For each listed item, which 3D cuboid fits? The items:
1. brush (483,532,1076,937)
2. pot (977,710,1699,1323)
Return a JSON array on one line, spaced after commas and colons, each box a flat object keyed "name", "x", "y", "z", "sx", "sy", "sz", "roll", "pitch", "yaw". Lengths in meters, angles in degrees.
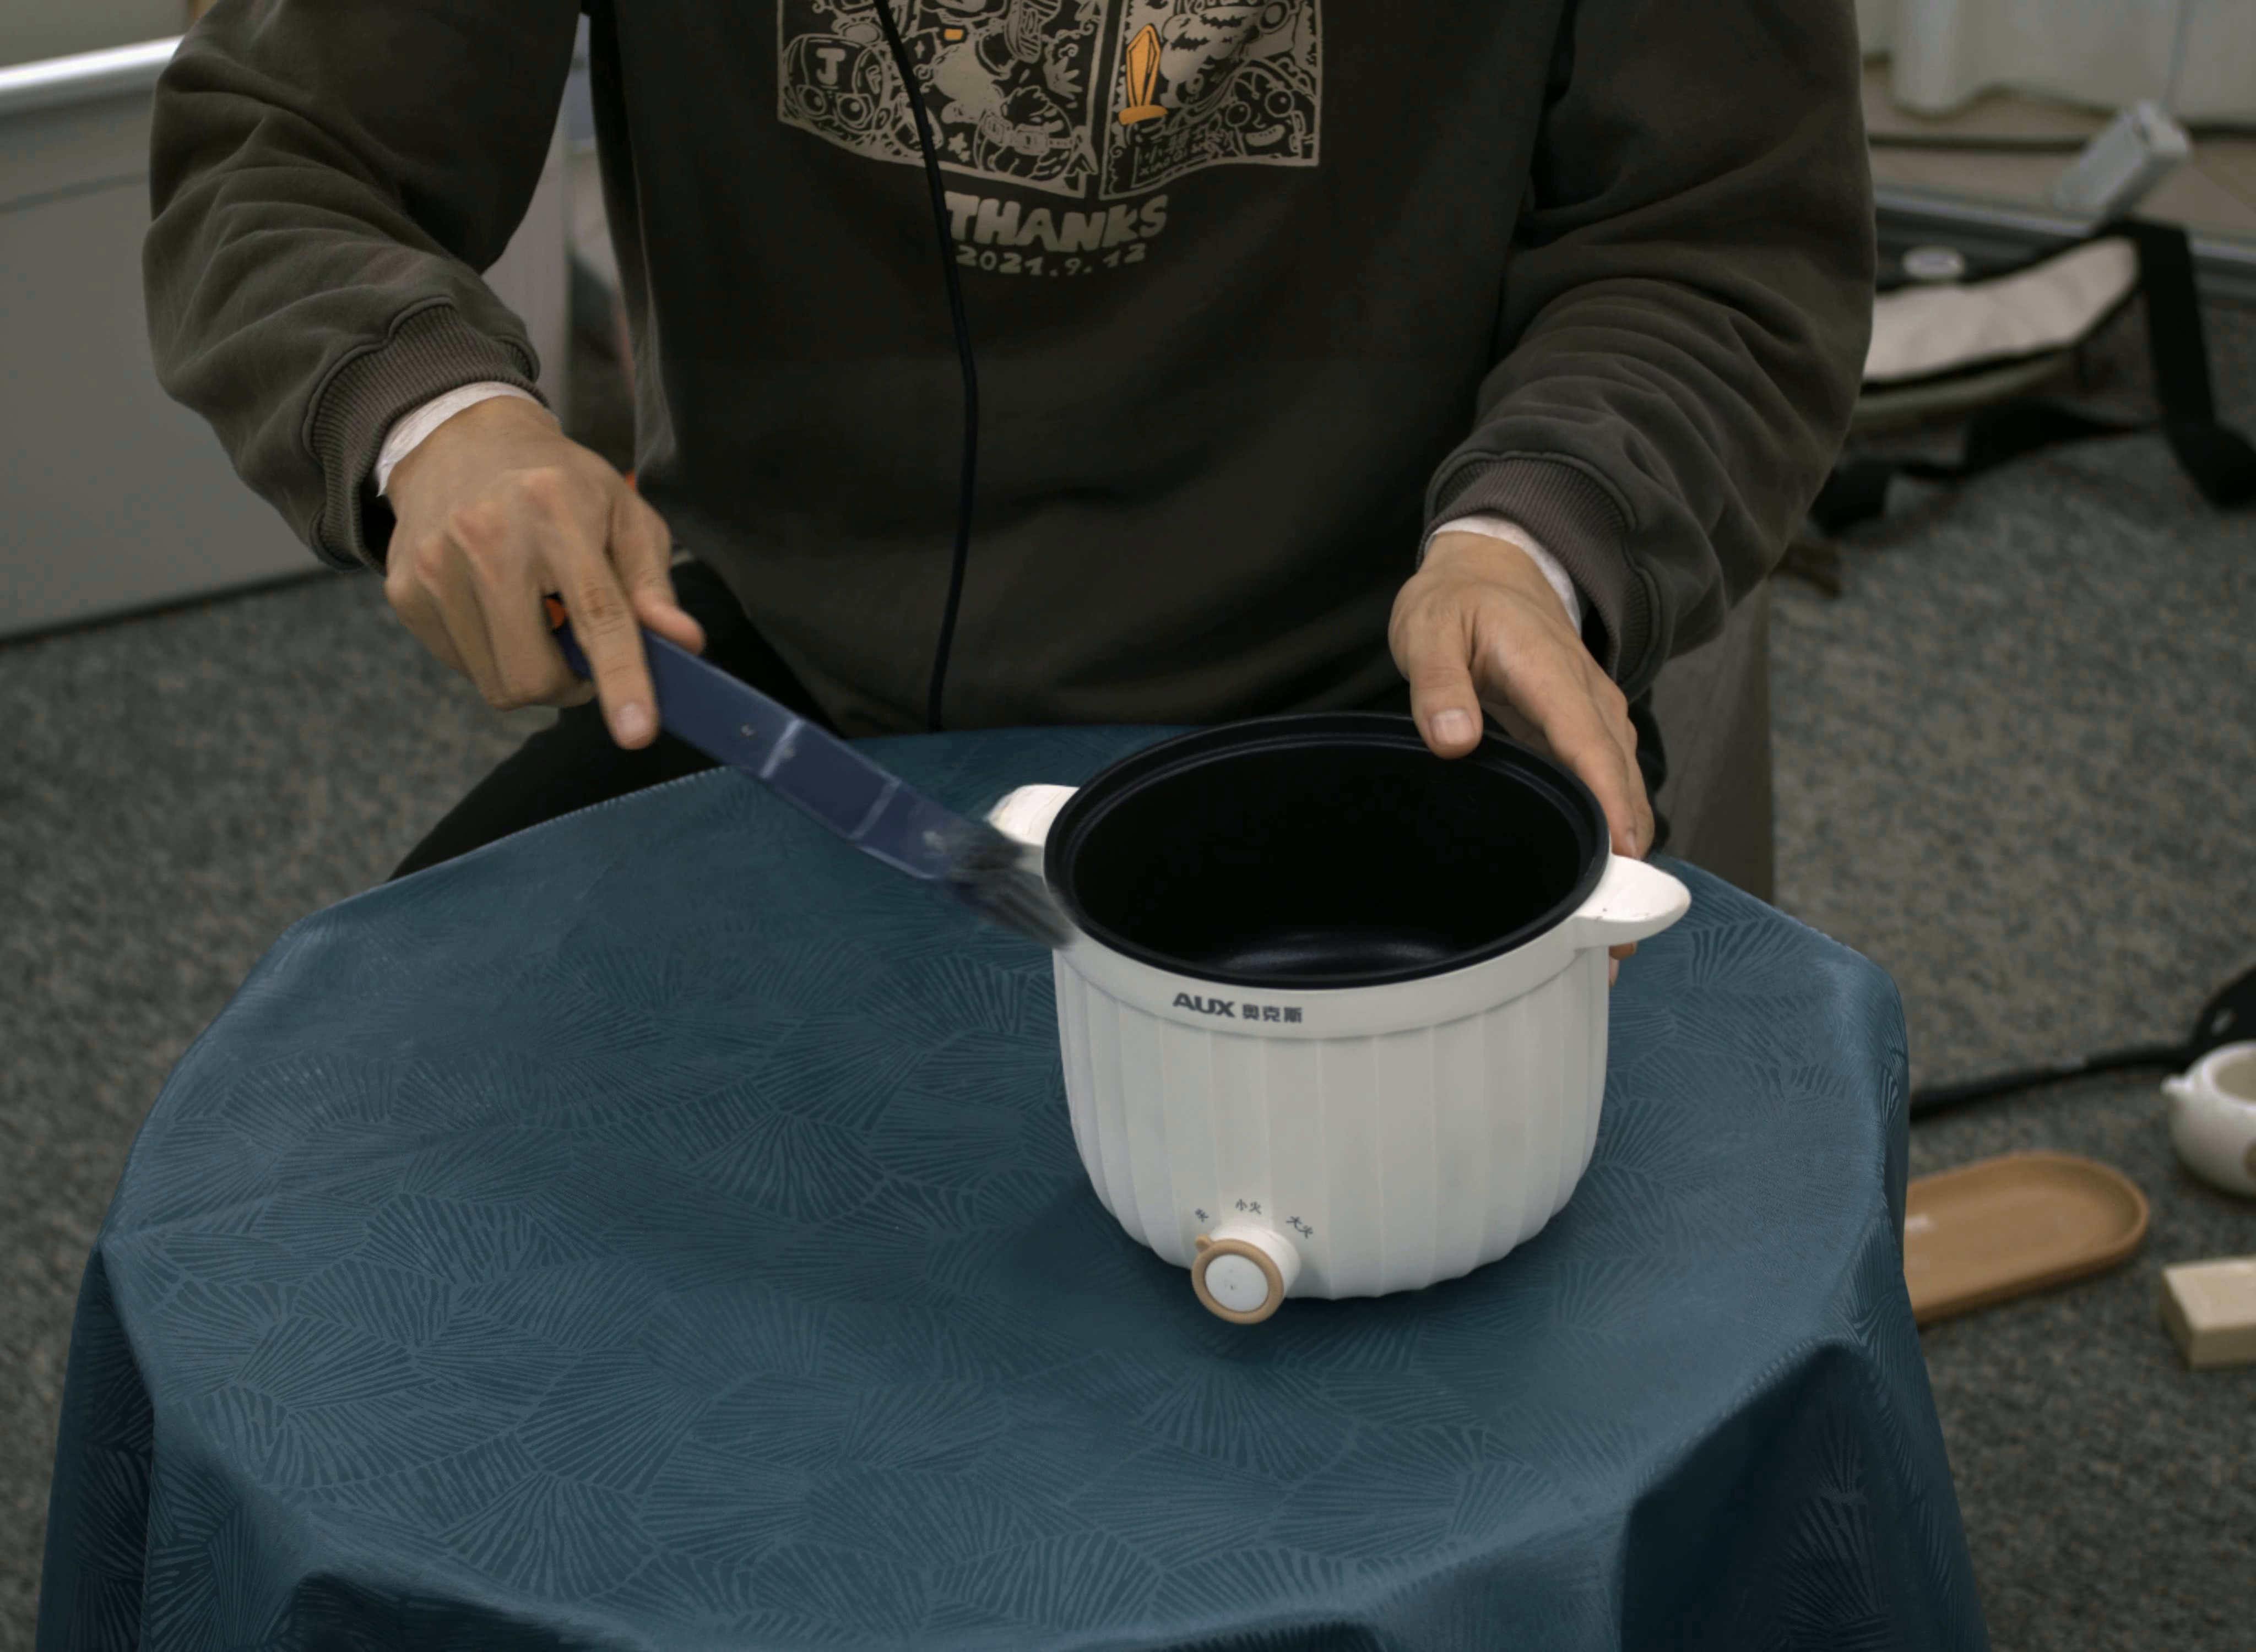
[{"name": "brush", "x": -0.118, "y": -0.036, "z": 1.771, "sx": 0.273, "sy": 0.095, "sz": 0.034, "roll": 31, "pitch": 83, "yaw": 32}, {"name": "pot", "x": 0.067, "y": 0.065, "z": 1.814, "sx": 0.238, "sy": 0.141, "sz": 0.193, "roll": 6, "pitch": 25, "yaw": 19}]
